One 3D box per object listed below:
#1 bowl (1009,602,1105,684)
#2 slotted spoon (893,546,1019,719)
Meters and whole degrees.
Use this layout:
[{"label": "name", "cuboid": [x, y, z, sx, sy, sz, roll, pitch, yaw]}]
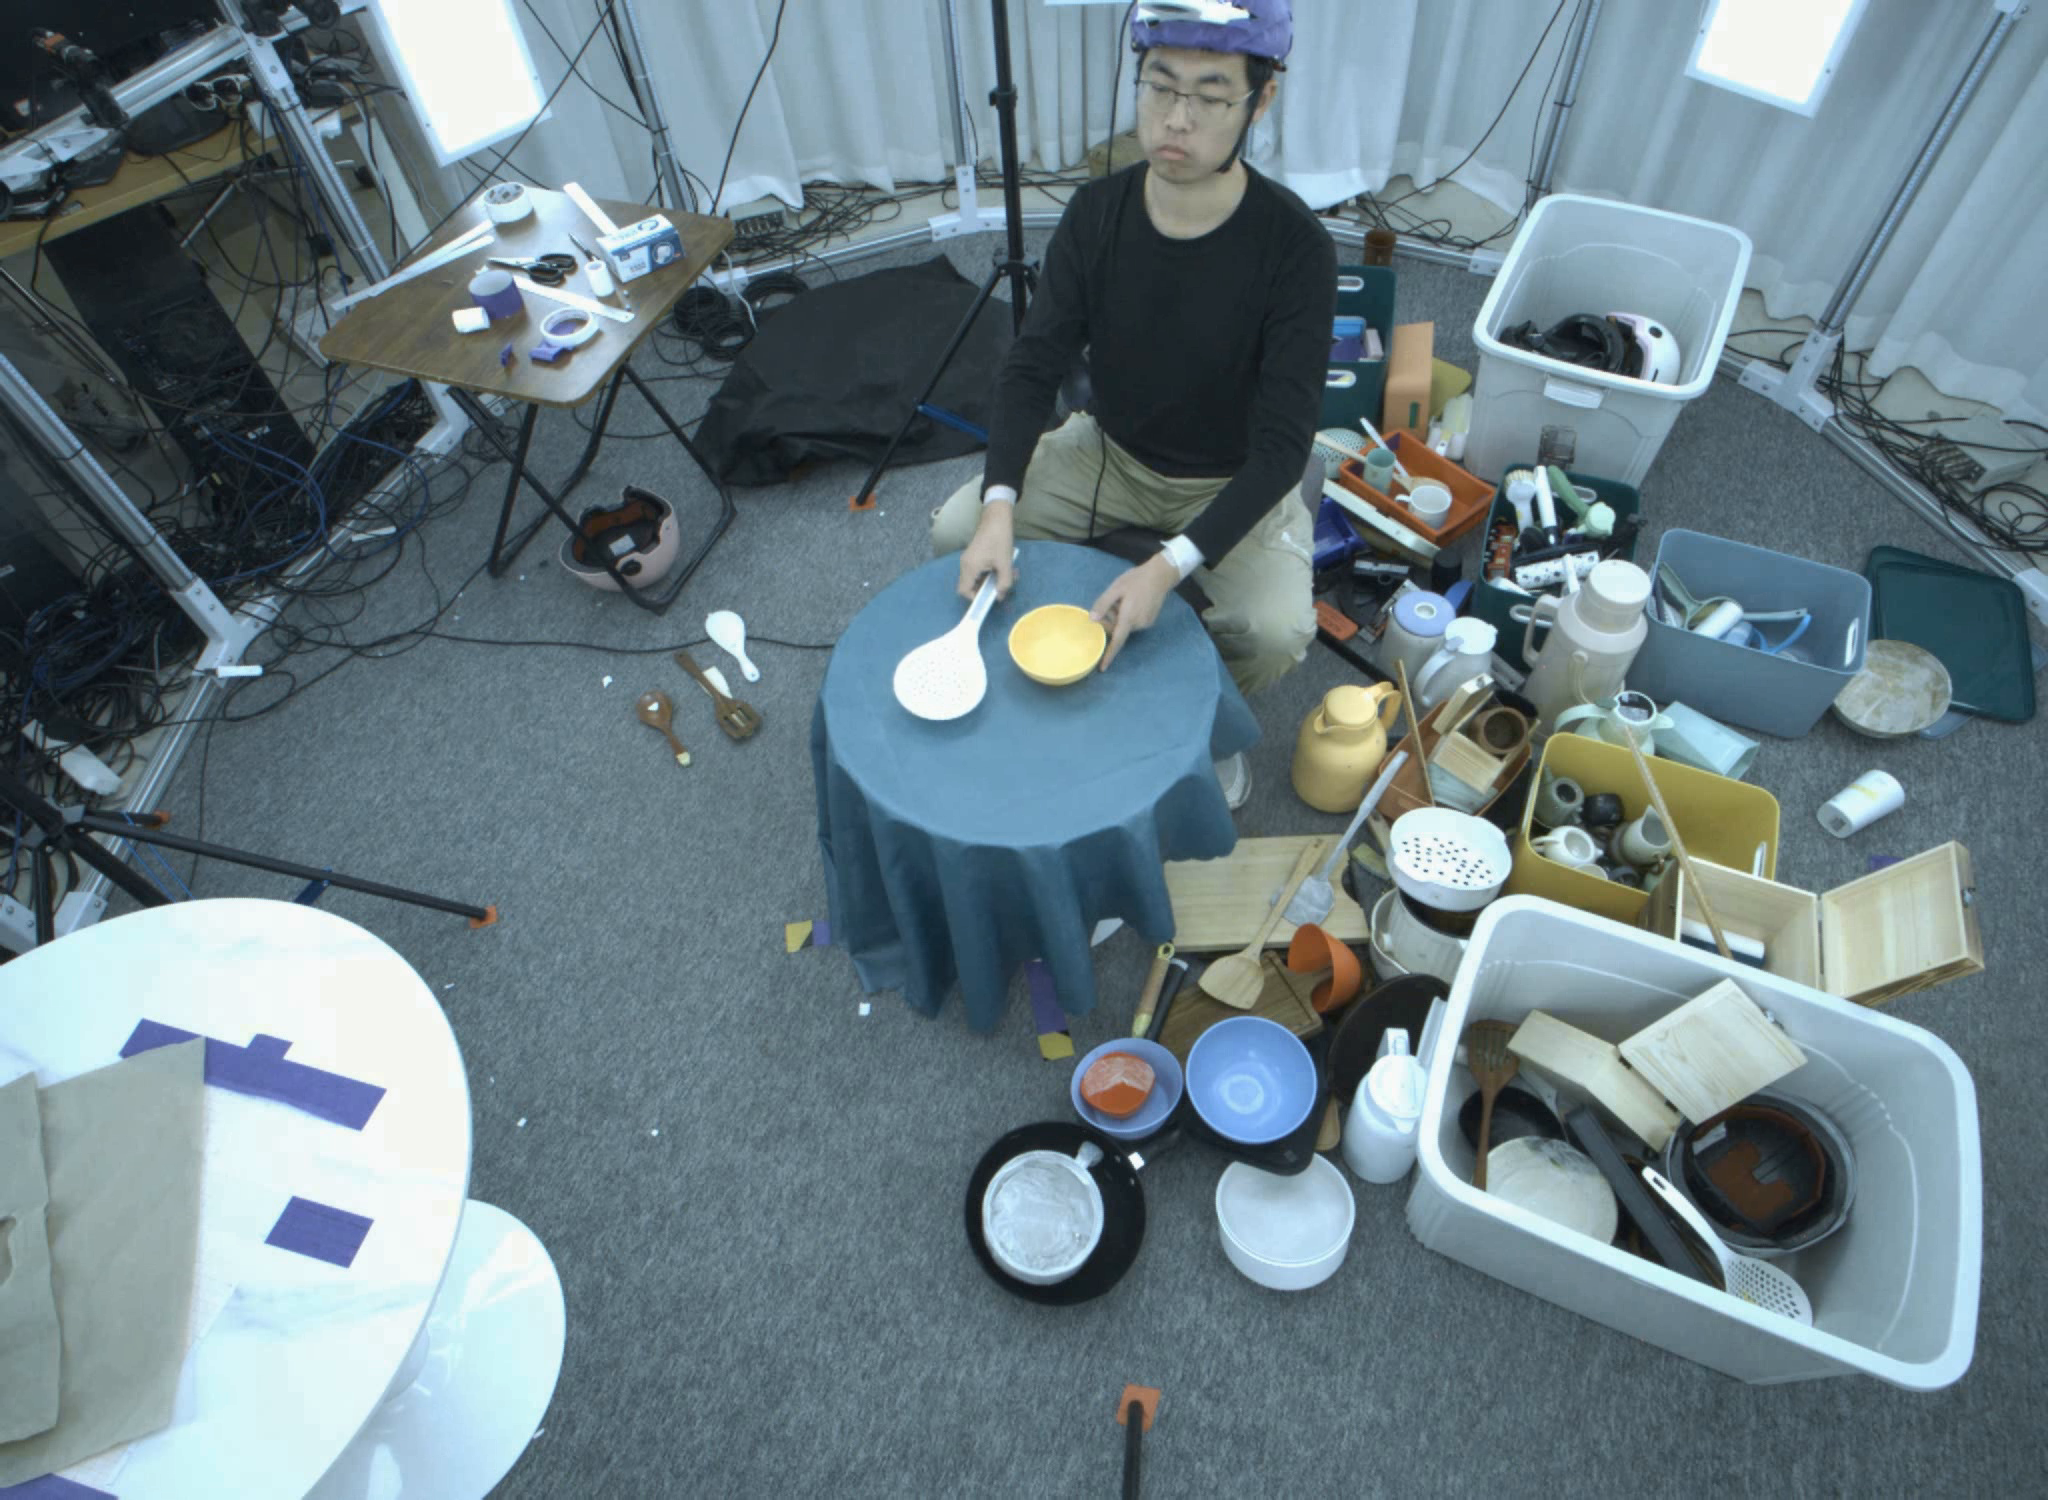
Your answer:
[{"label": "bowl", "cuboid": [0.051, -0.149, 1.857, 0.145, 0.061, 0.144, 0, 57, 2]}, {"label": "slotted spoon", "cuboid": [-0.086, -0.184, 1.874, 0.135, 0.046, 0.349, 19, 65, 10]}]
